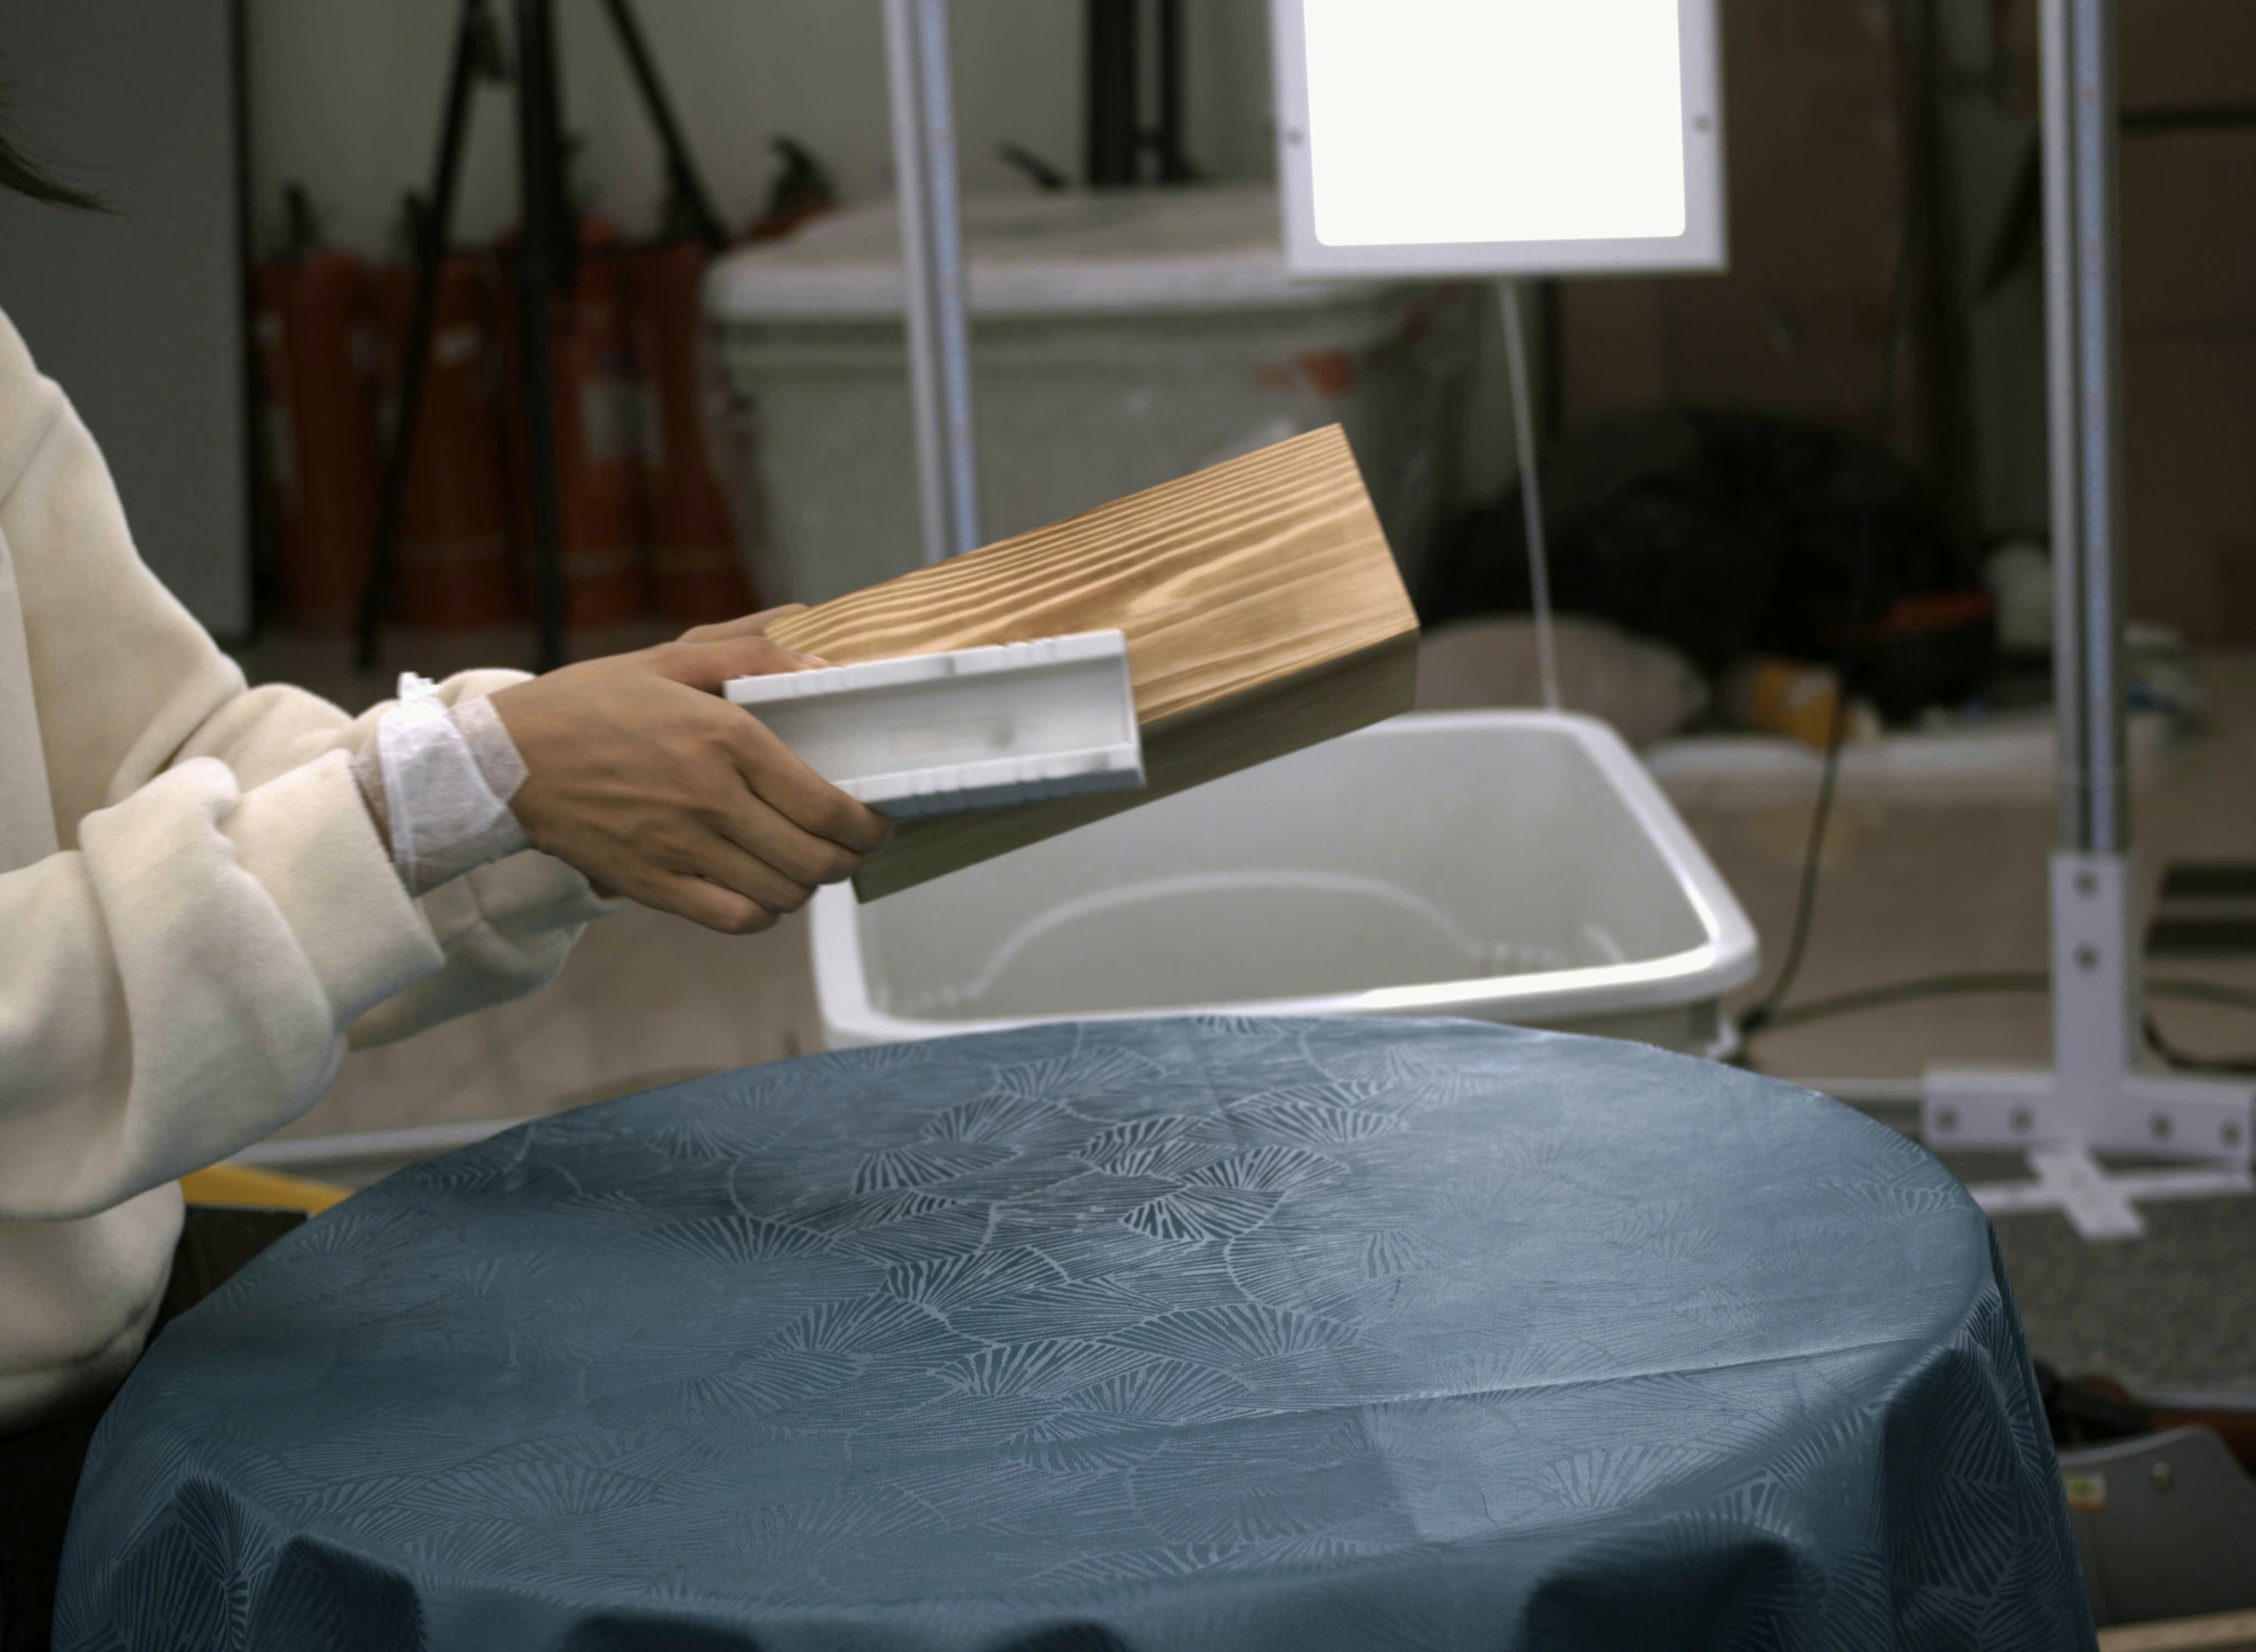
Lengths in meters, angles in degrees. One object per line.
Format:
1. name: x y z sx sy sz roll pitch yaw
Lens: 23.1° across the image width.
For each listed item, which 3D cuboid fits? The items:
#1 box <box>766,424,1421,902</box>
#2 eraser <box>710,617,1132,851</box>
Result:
1. box: -0.011 -0.055 1.915 0.210 0.080 0.107 -19 -15 -2
2. eraser: -0.068 -0.030 1.833 0.134 0.050 0.046 -10 -12 5
